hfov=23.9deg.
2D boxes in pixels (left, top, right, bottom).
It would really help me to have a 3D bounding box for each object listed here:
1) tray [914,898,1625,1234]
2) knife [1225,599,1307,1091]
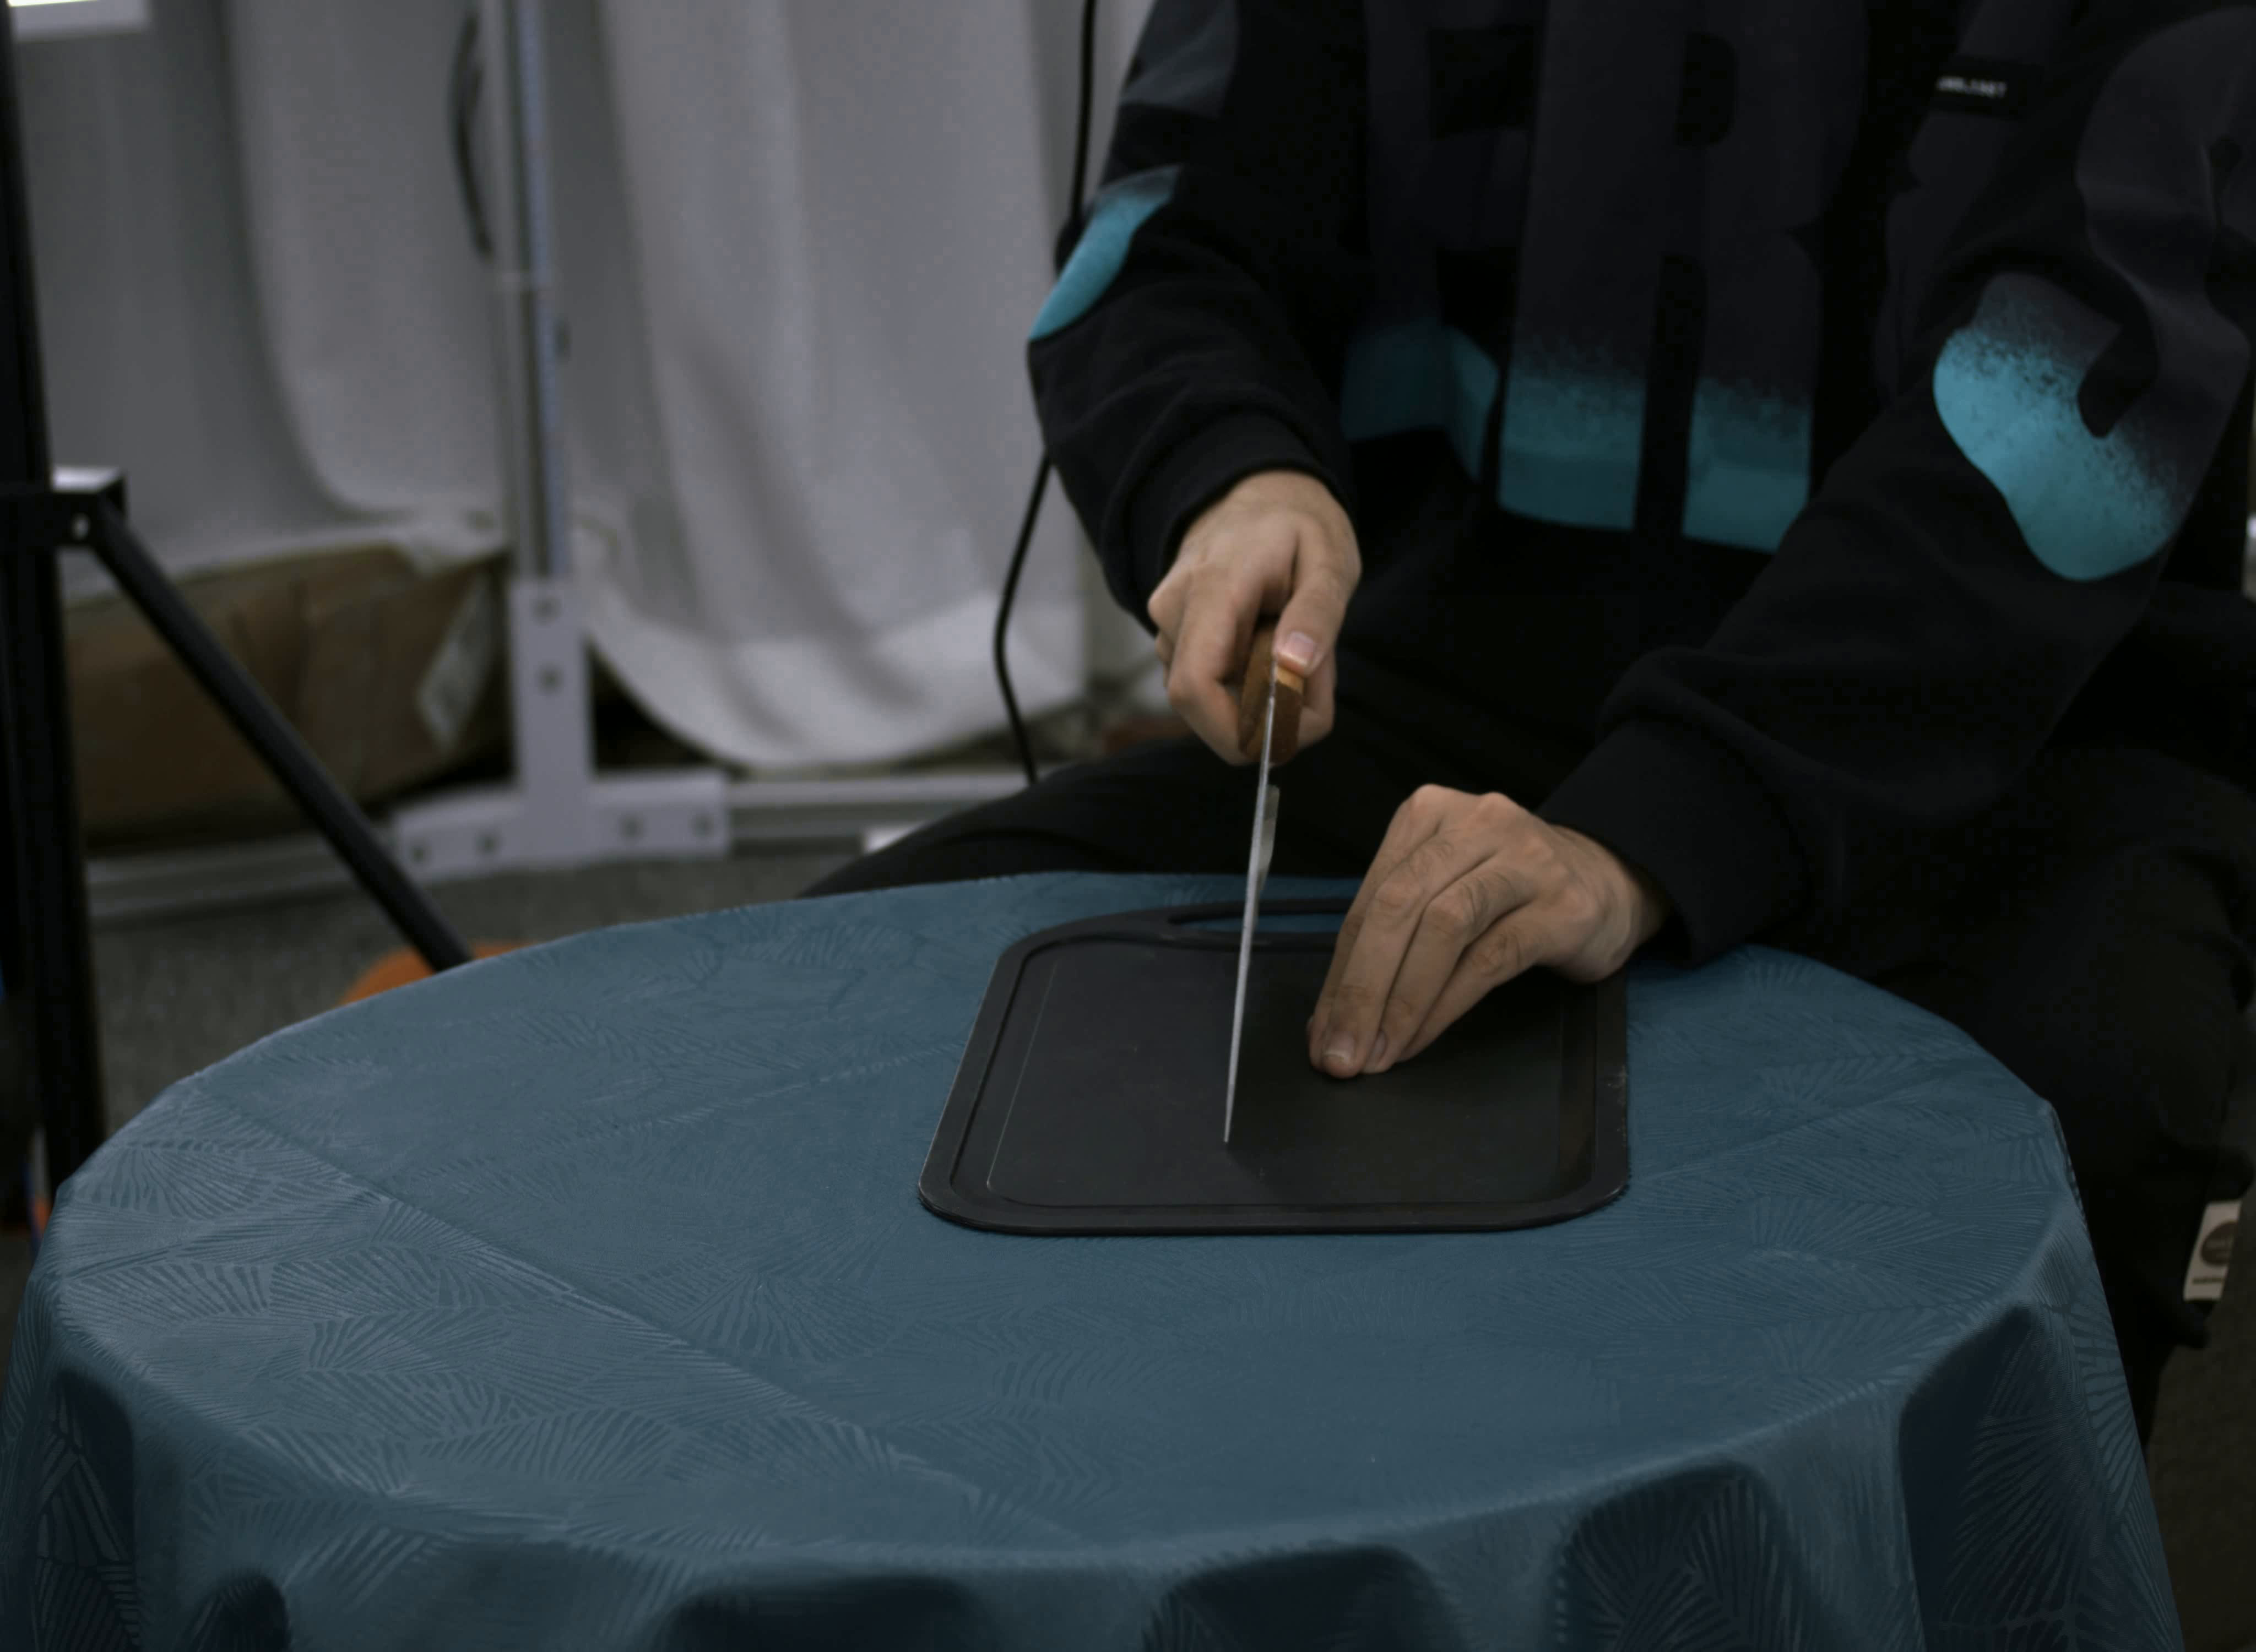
[{"bbox_3d":[0.051,0.070,1.671,0.211,0.010,0.325,-1,16,7],"label":"tray"},{"bbox_3d":[0.042,0.005,1.711,0.021,0.093,0.306,6,19,1],"label":"knife"}]
